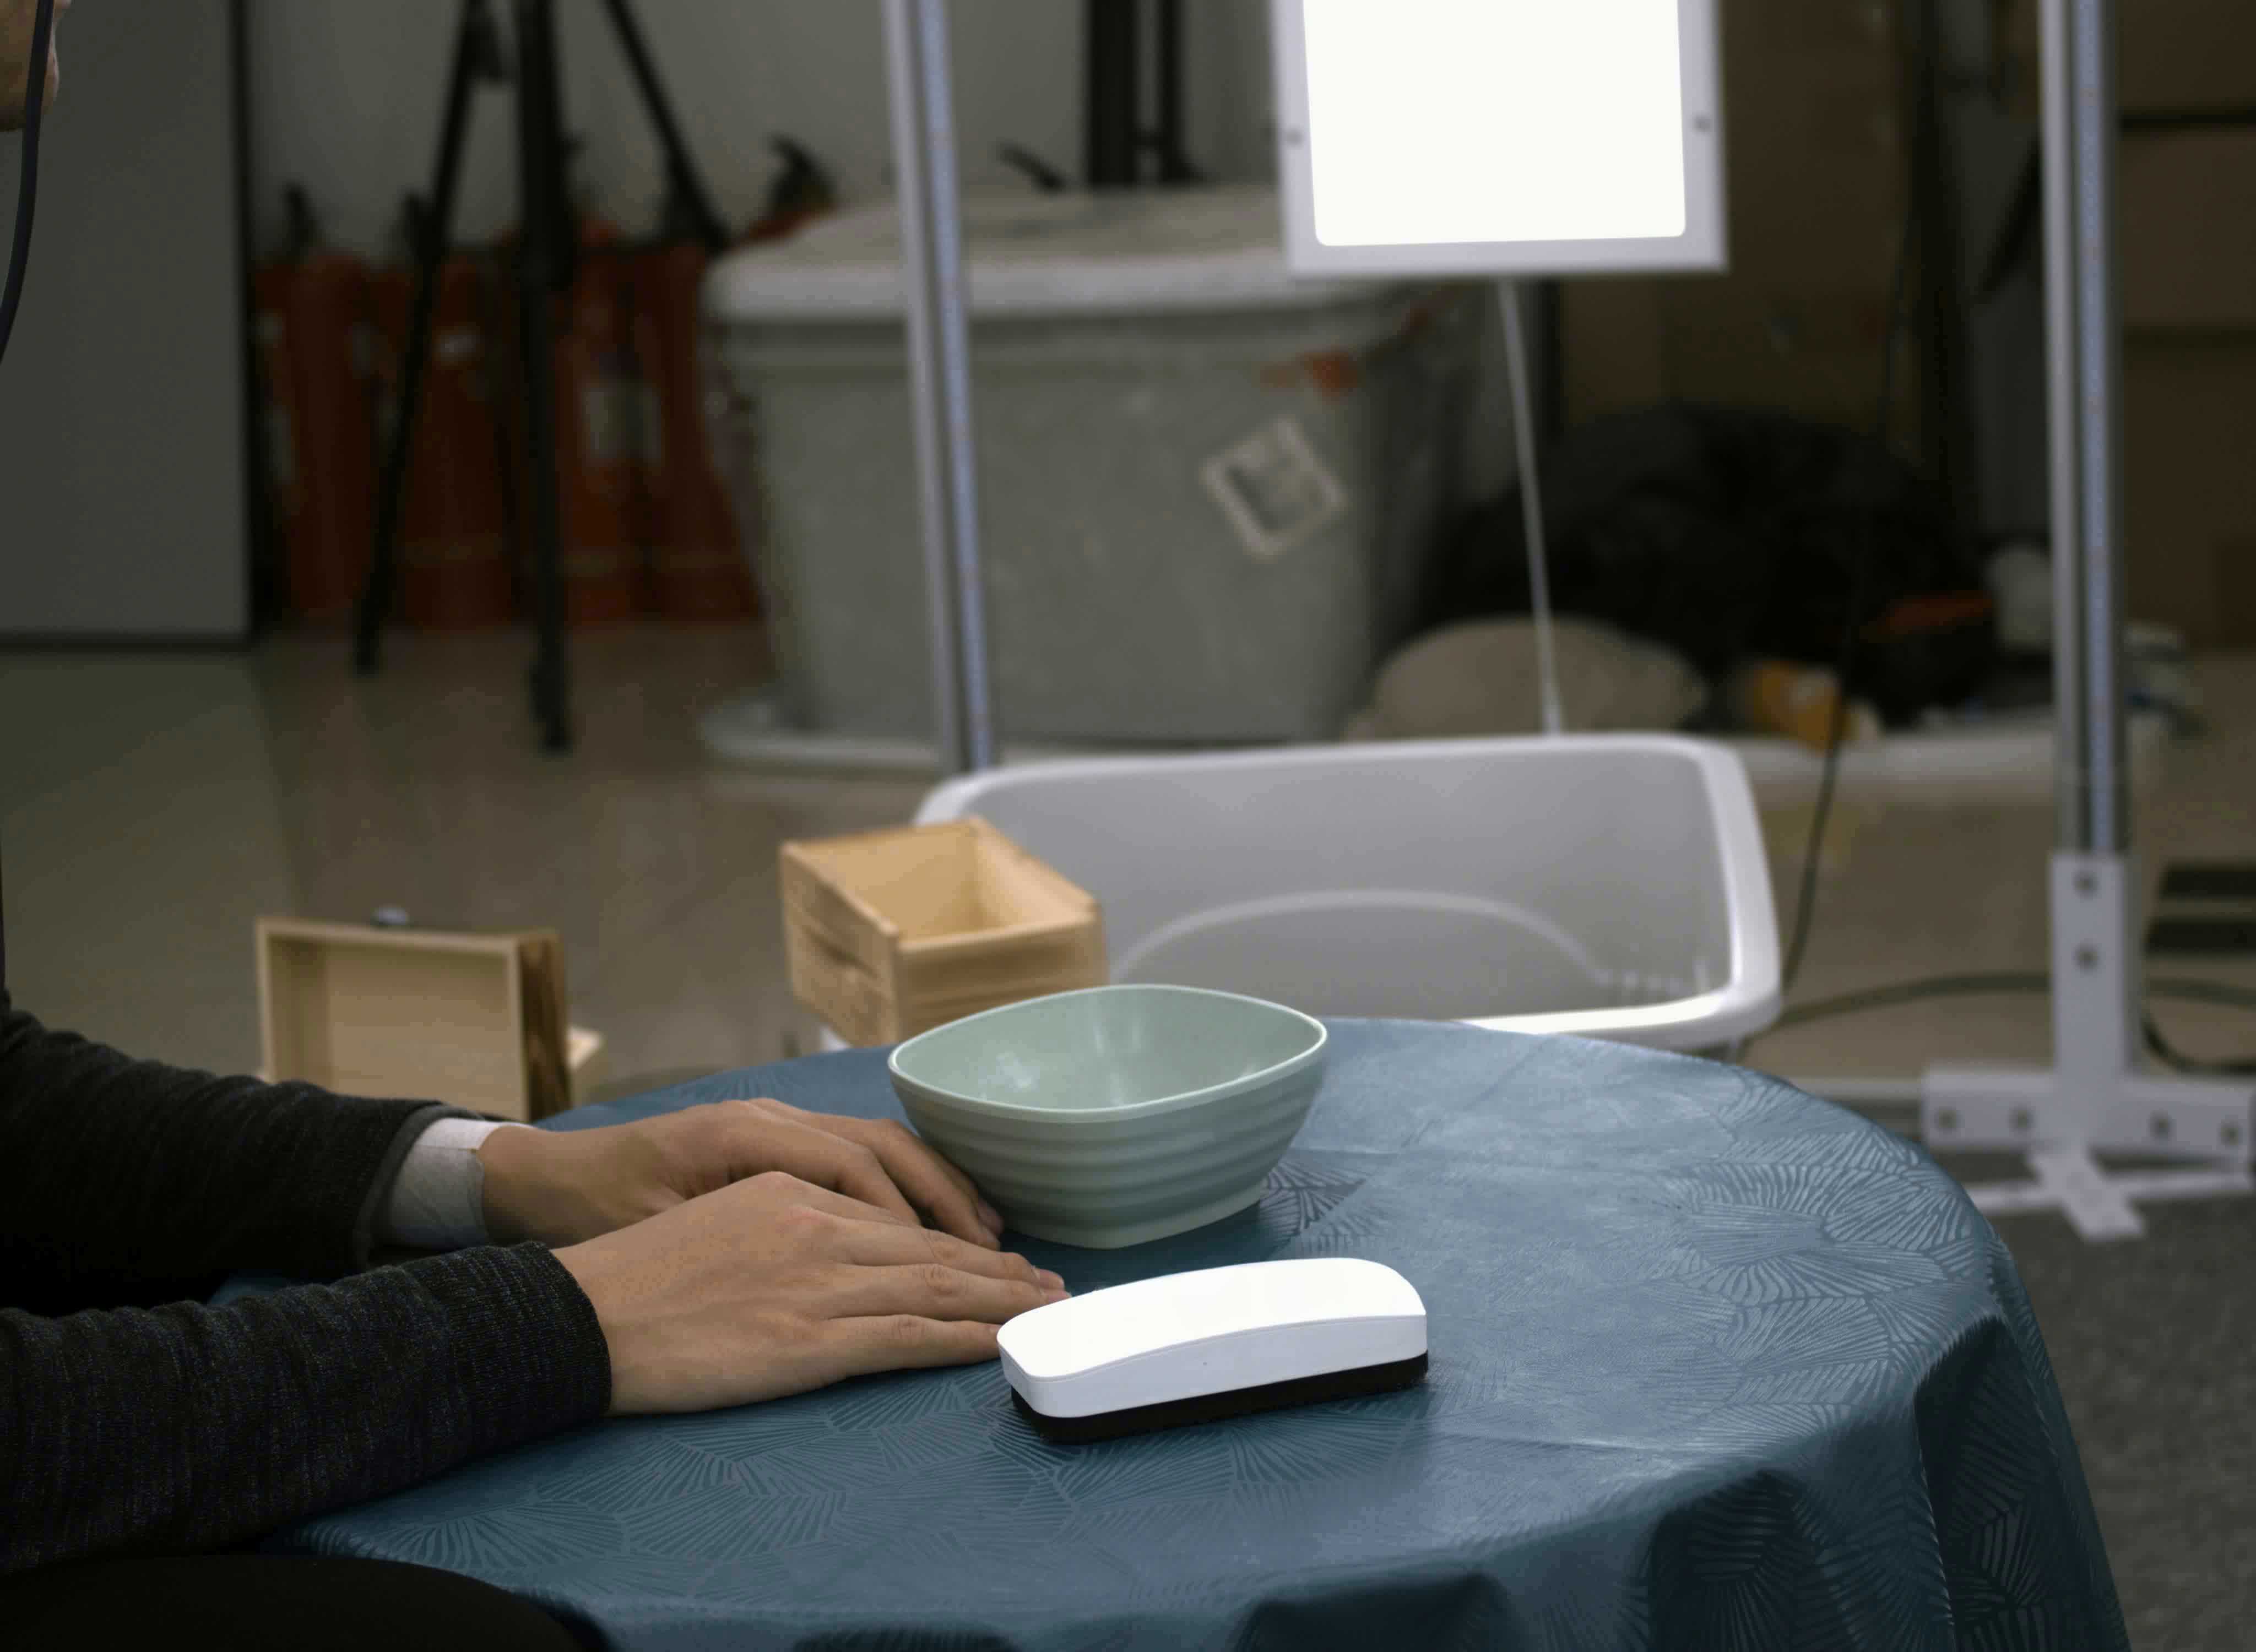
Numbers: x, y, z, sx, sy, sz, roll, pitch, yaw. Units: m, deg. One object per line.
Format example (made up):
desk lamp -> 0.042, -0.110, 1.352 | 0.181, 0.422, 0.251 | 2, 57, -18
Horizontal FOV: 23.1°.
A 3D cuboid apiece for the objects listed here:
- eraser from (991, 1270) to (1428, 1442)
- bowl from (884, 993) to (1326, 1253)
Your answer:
eraser -> 0.025, 0.159, 1.691 | 0.129, 0.034, 0.064 | -7, 12, -13
bowl -> -0.006, 0.104, 1.878 | 0.151, 0.059, 0.151 | -4, 13, -1
